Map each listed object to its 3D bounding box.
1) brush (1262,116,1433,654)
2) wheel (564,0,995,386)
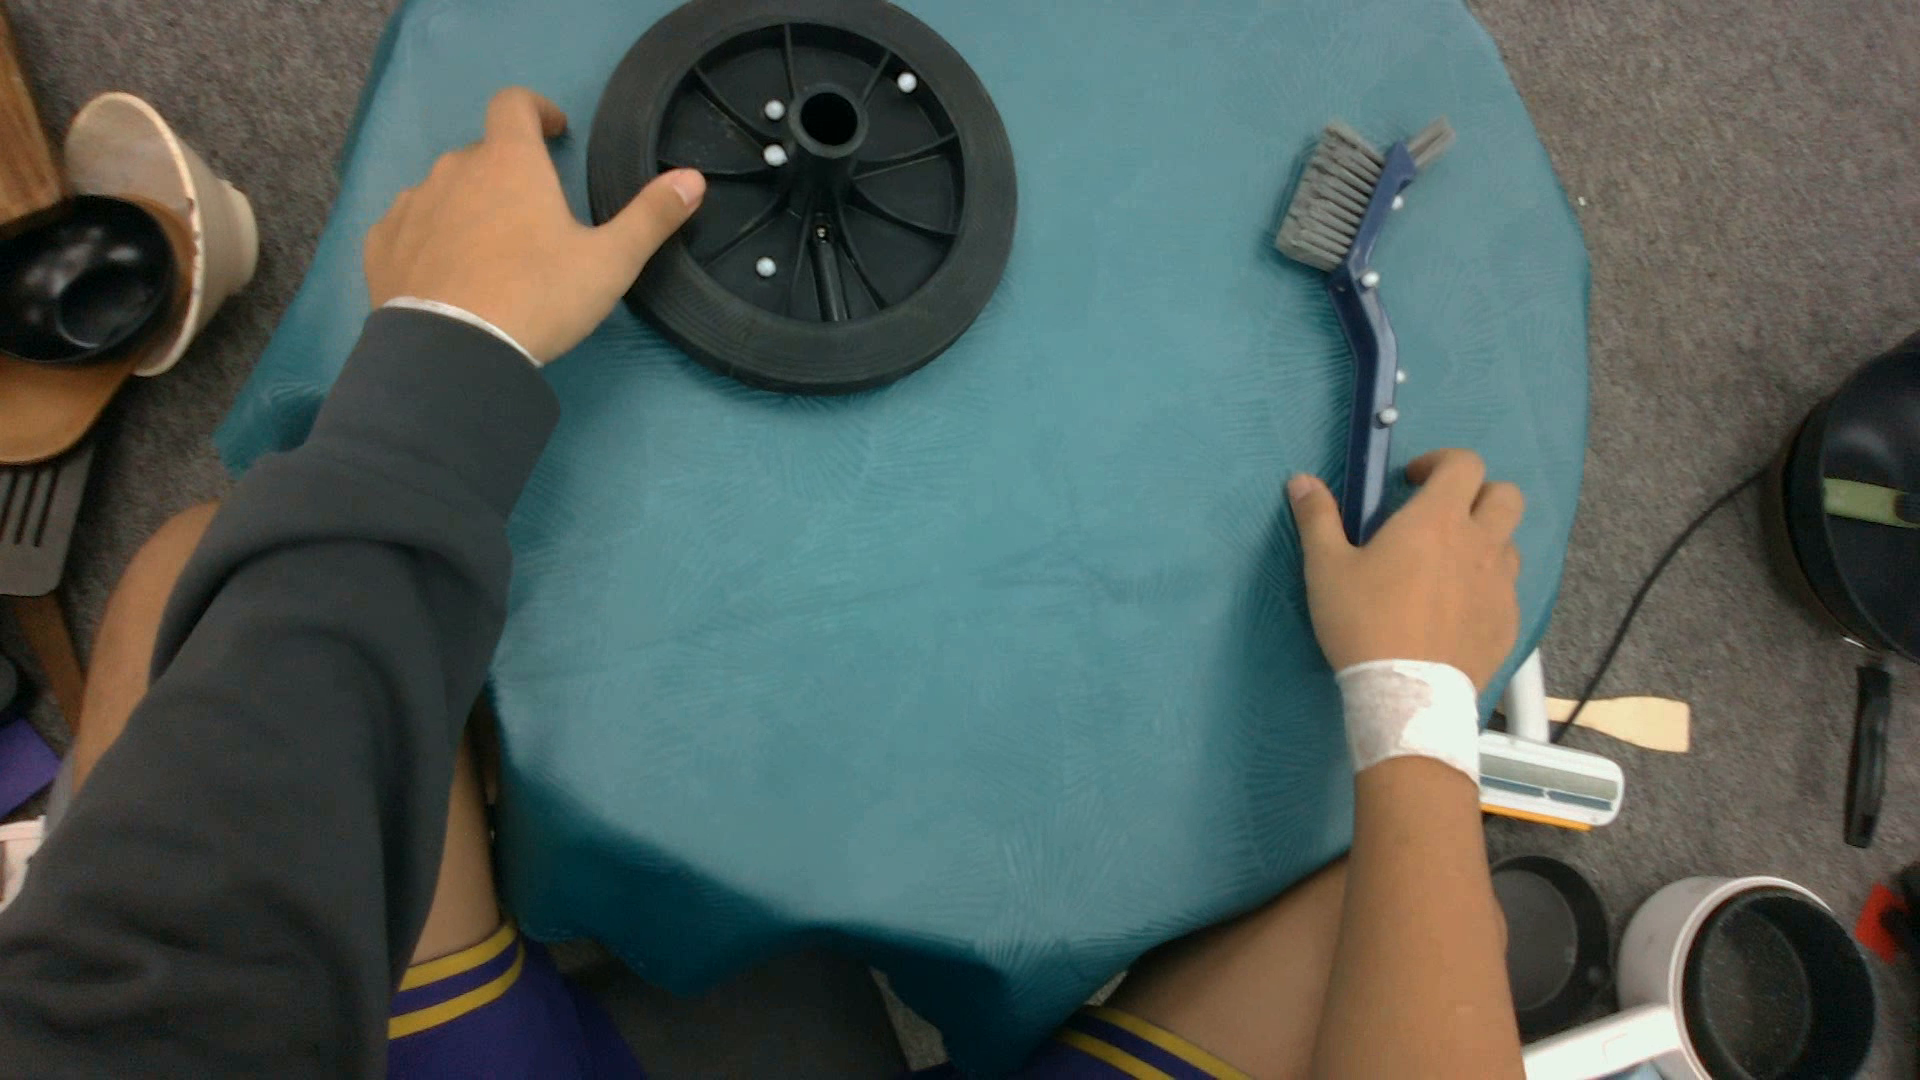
[{"bbox_3d":[0.196,-0.081,0.666,0.096,0.033,0.273,2,78,-15],"label":"brush"},{"bbox_3d":[-0.071,-0.164,0.588,0.188,0.079,0.190,-35,91,-18],"label":"wheel"}]
